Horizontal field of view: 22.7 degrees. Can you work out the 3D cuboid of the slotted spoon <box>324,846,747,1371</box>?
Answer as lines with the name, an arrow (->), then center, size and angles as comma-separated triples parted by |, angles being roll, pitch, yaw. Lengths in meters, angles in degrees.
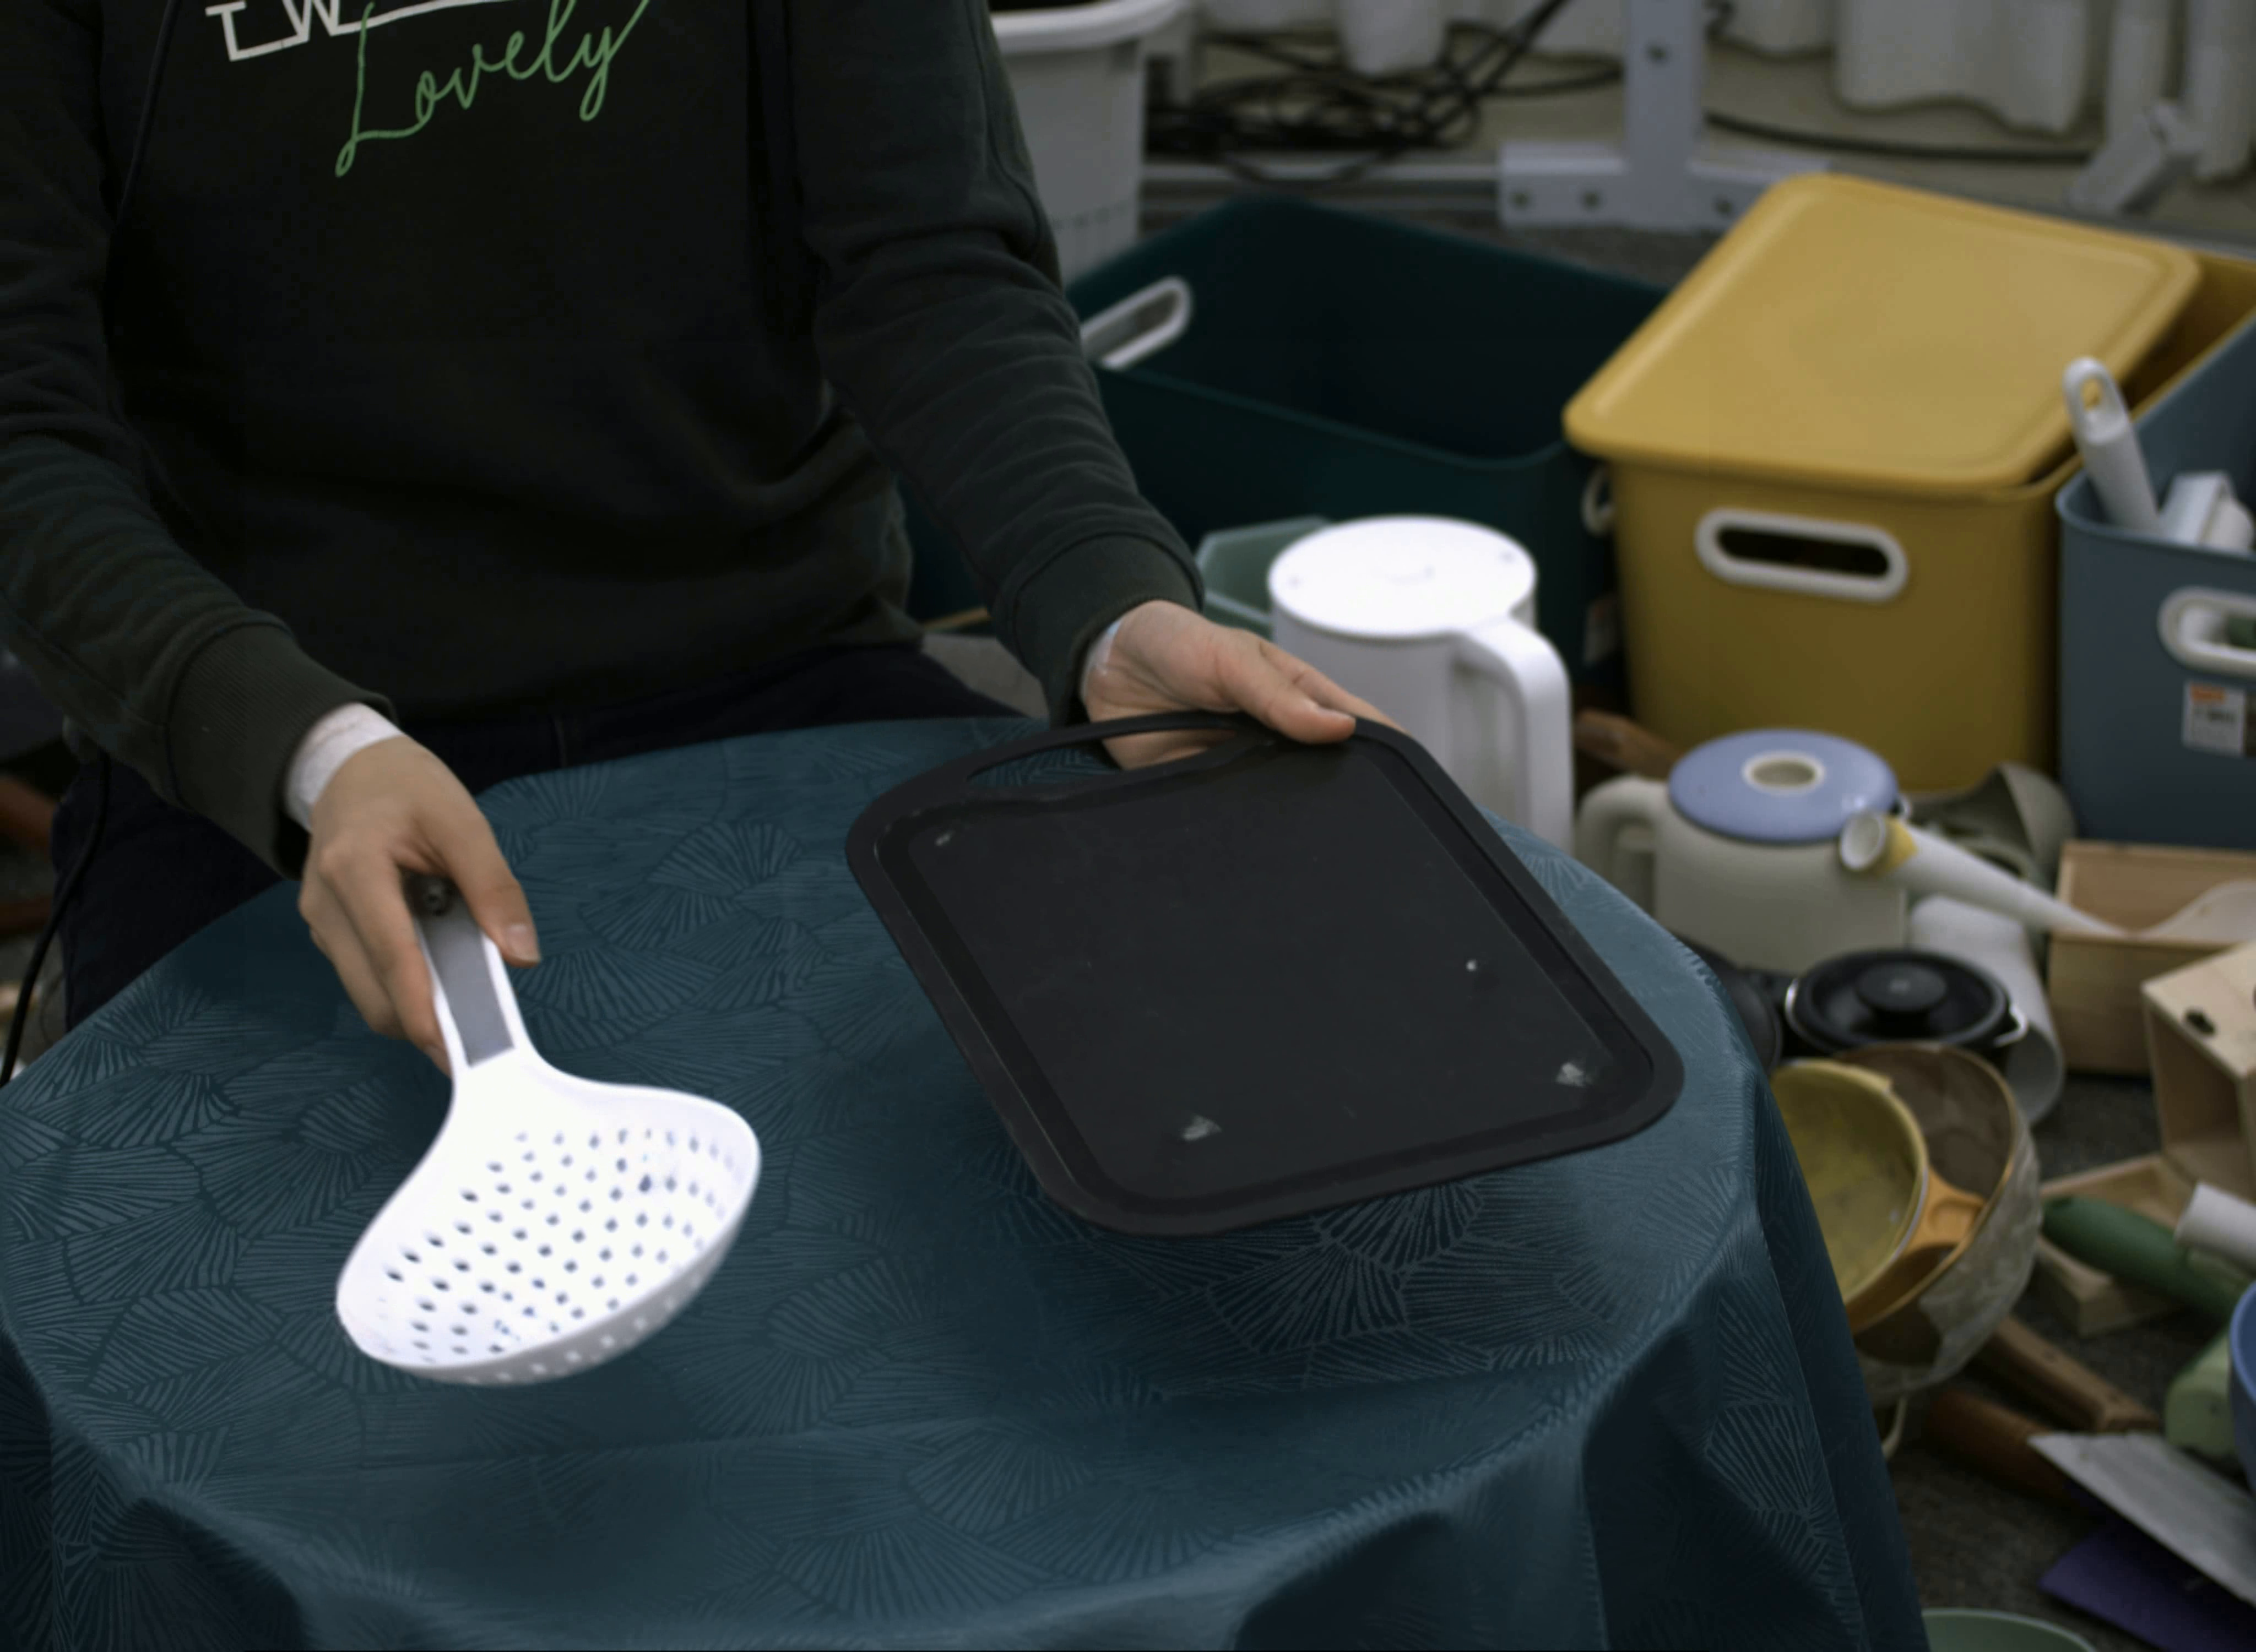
slotted spoon -> -0.201, 0.082, 1.787 | 0.136, 0.045, 0.353 | -23, 30, -5

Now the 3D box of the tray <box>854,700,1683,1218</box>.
tray -> 0.036, 0.034, 1.841 | 0.211, 0.009, 0.328 | -11, 29, -15
